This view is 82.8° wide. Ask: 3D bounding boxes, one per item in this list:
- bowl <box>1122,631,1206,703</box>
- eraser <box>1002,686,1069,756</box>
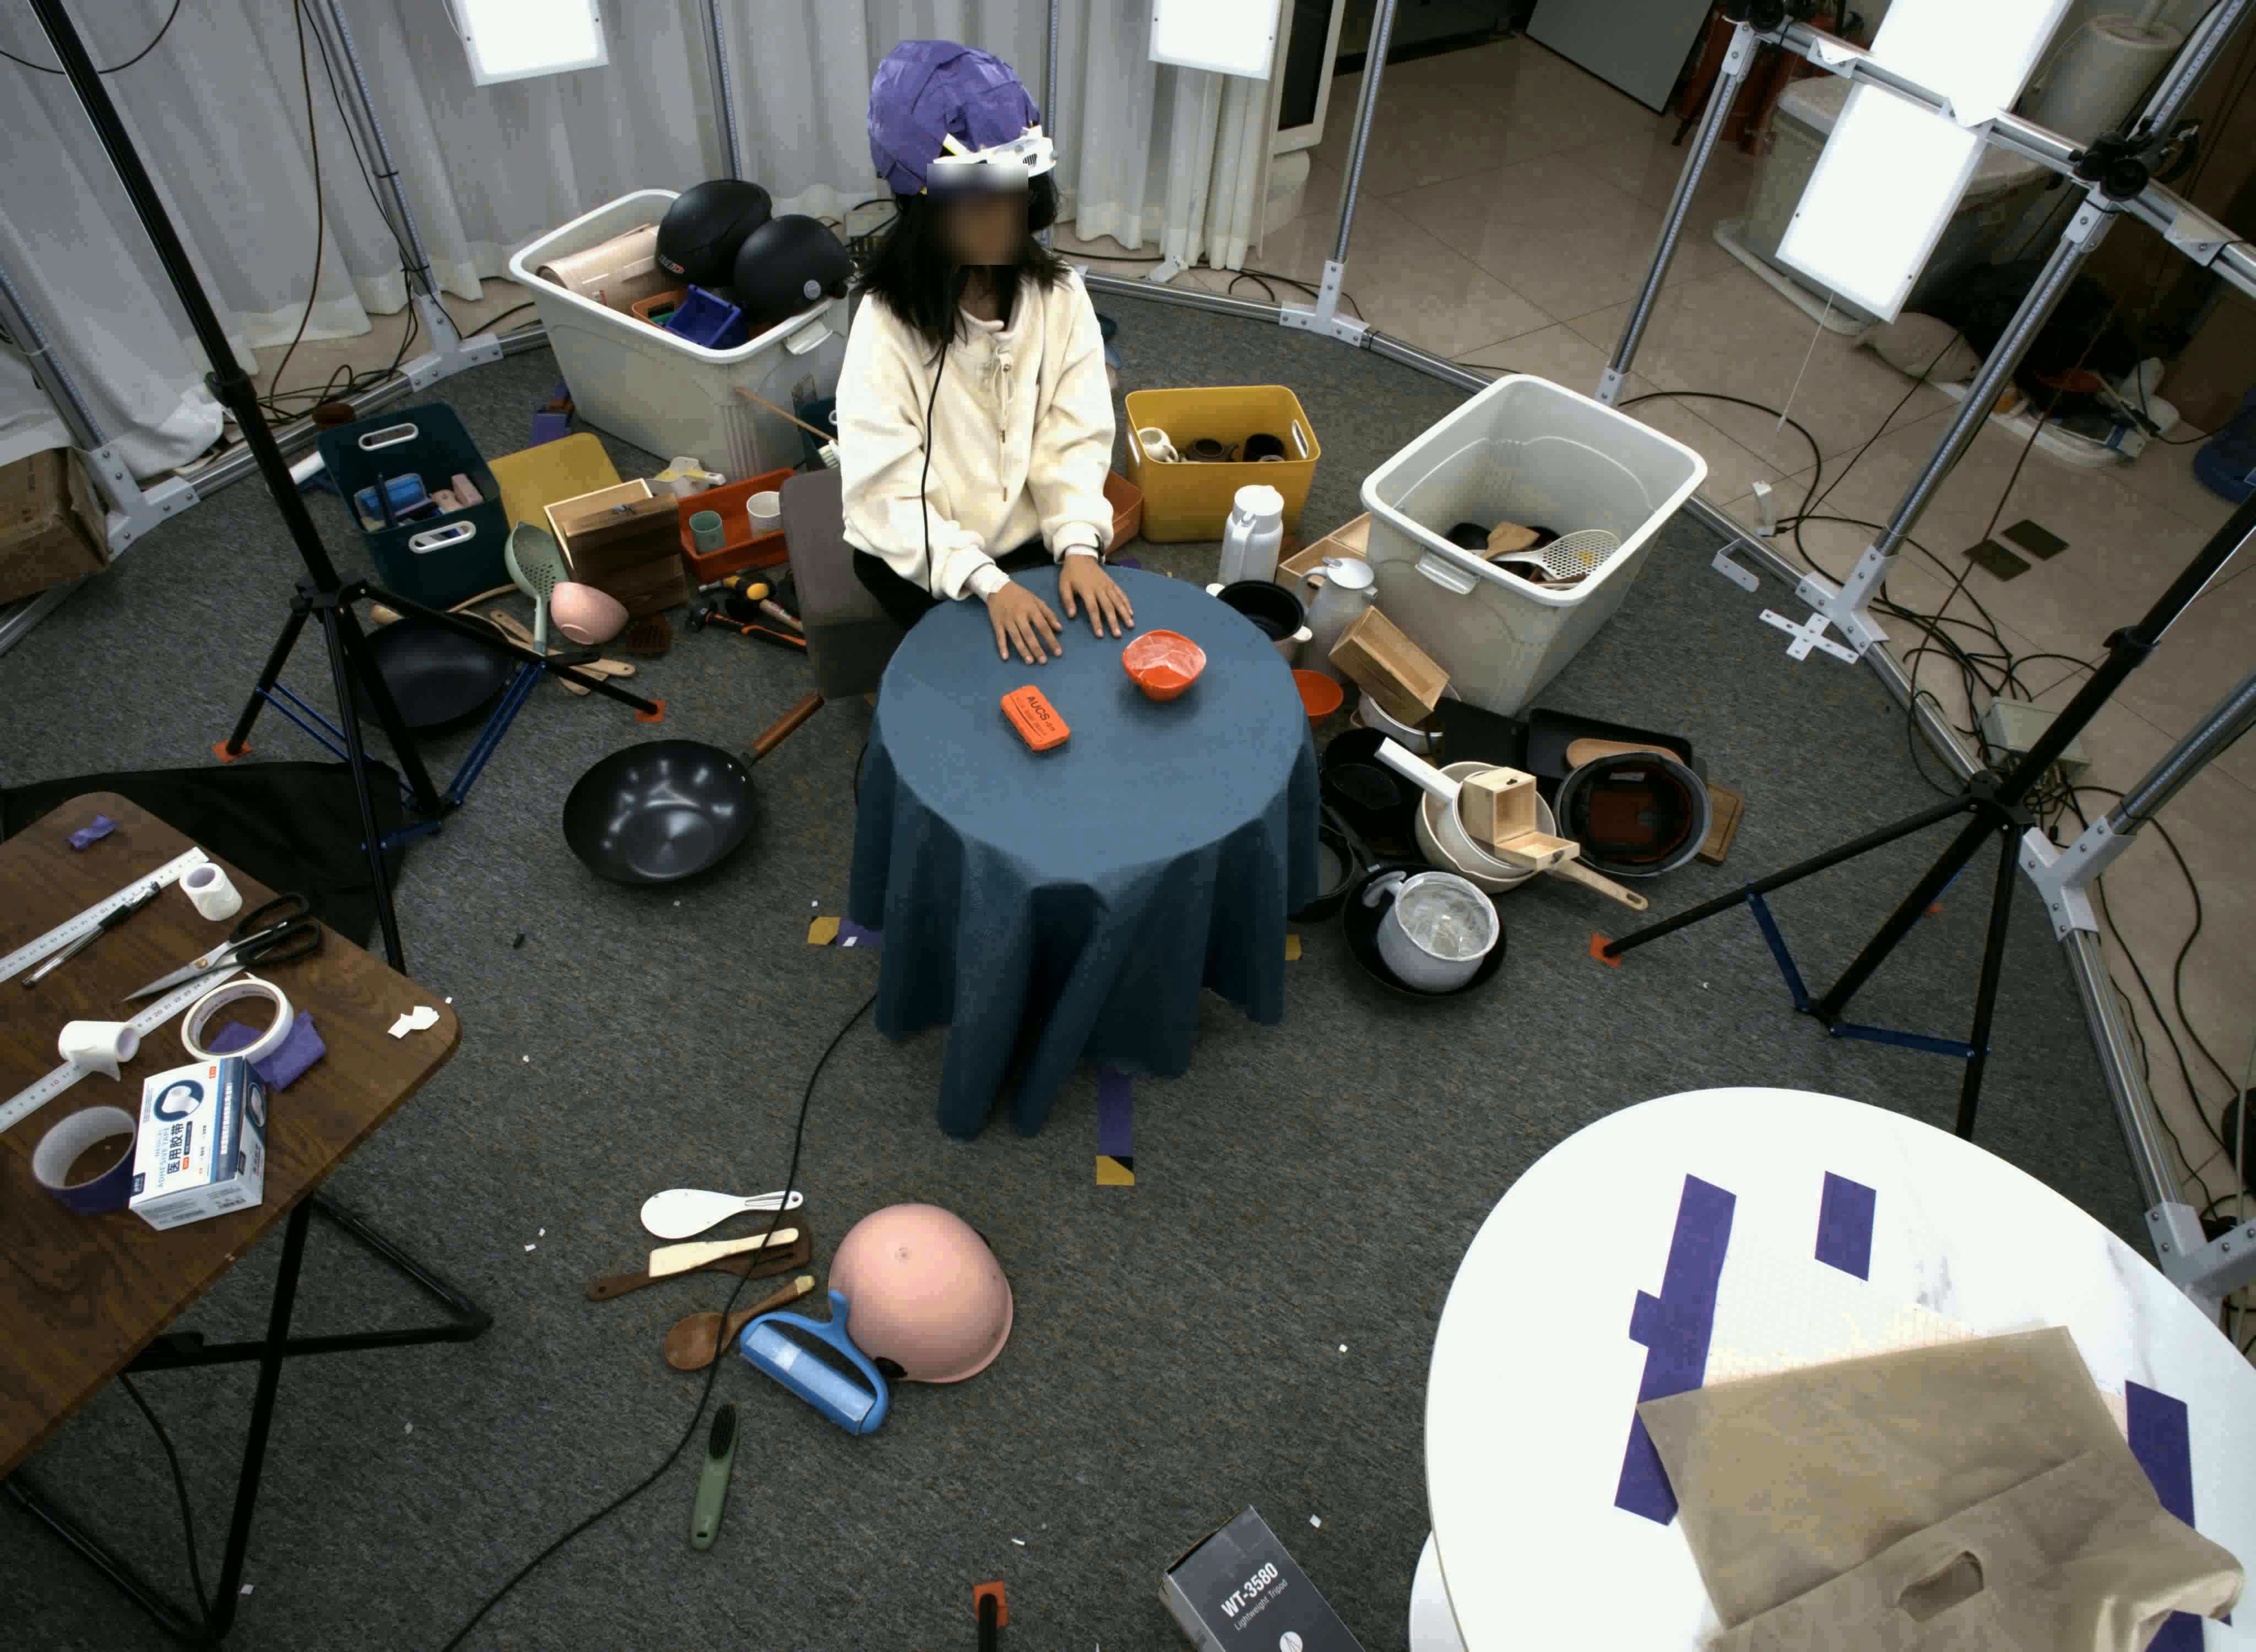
[{"bbox_3d":[0.050,-0.221,1.833,0.119,0.050,0.122,1,49,-1],"label":"bowl"},{"bbox_3d":[-0.128,-0.146,1.773,0.059,0.022,0.110,-23,55,-19],"label":"eraser"}]
